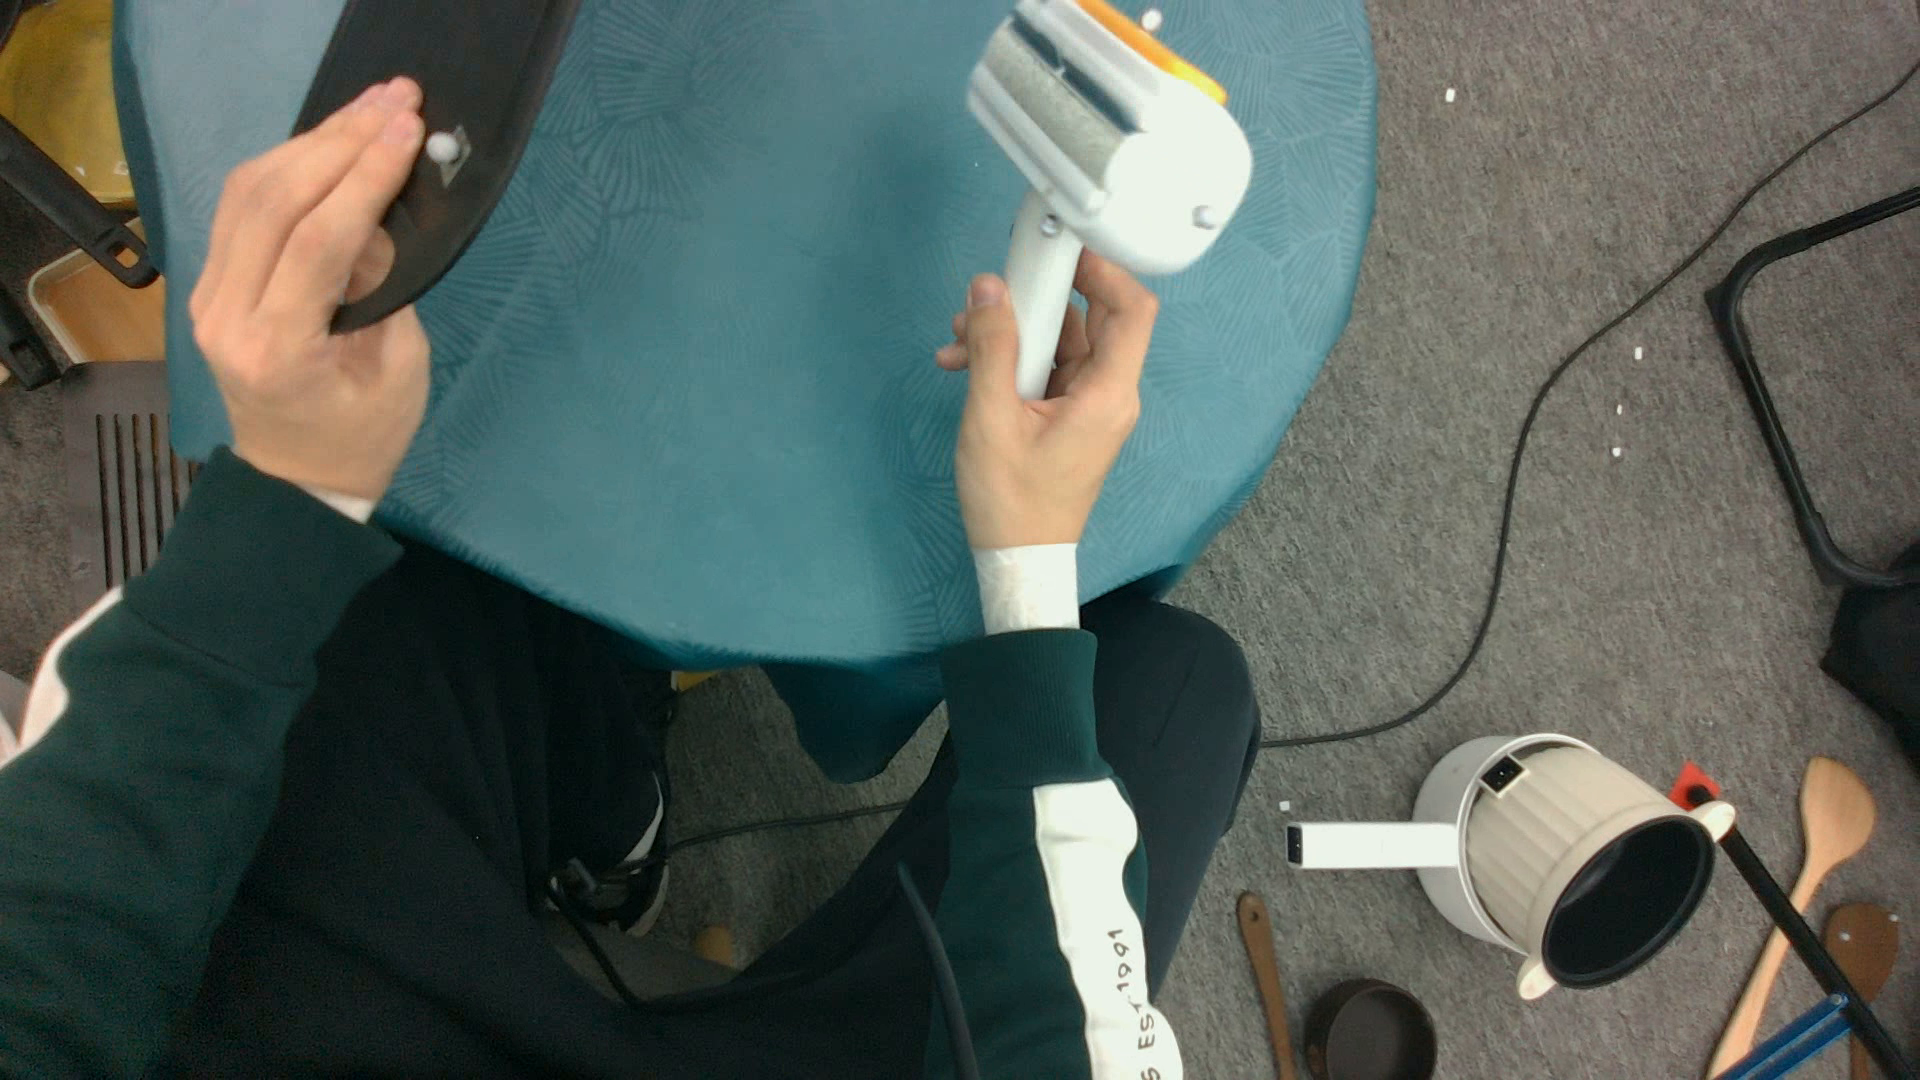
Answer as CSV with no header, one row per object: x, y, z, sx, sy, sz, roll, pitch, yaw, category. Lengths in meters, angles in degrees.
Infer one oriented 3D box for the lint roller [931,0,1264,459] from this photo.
0.027,-0.120,0.572,0.074,0.193,0.191,12,120,-37,lint roller

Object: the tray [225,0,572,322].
-0.166,-0.224,0.467,0.010,0.211,0.326,27,81,-46,tray
